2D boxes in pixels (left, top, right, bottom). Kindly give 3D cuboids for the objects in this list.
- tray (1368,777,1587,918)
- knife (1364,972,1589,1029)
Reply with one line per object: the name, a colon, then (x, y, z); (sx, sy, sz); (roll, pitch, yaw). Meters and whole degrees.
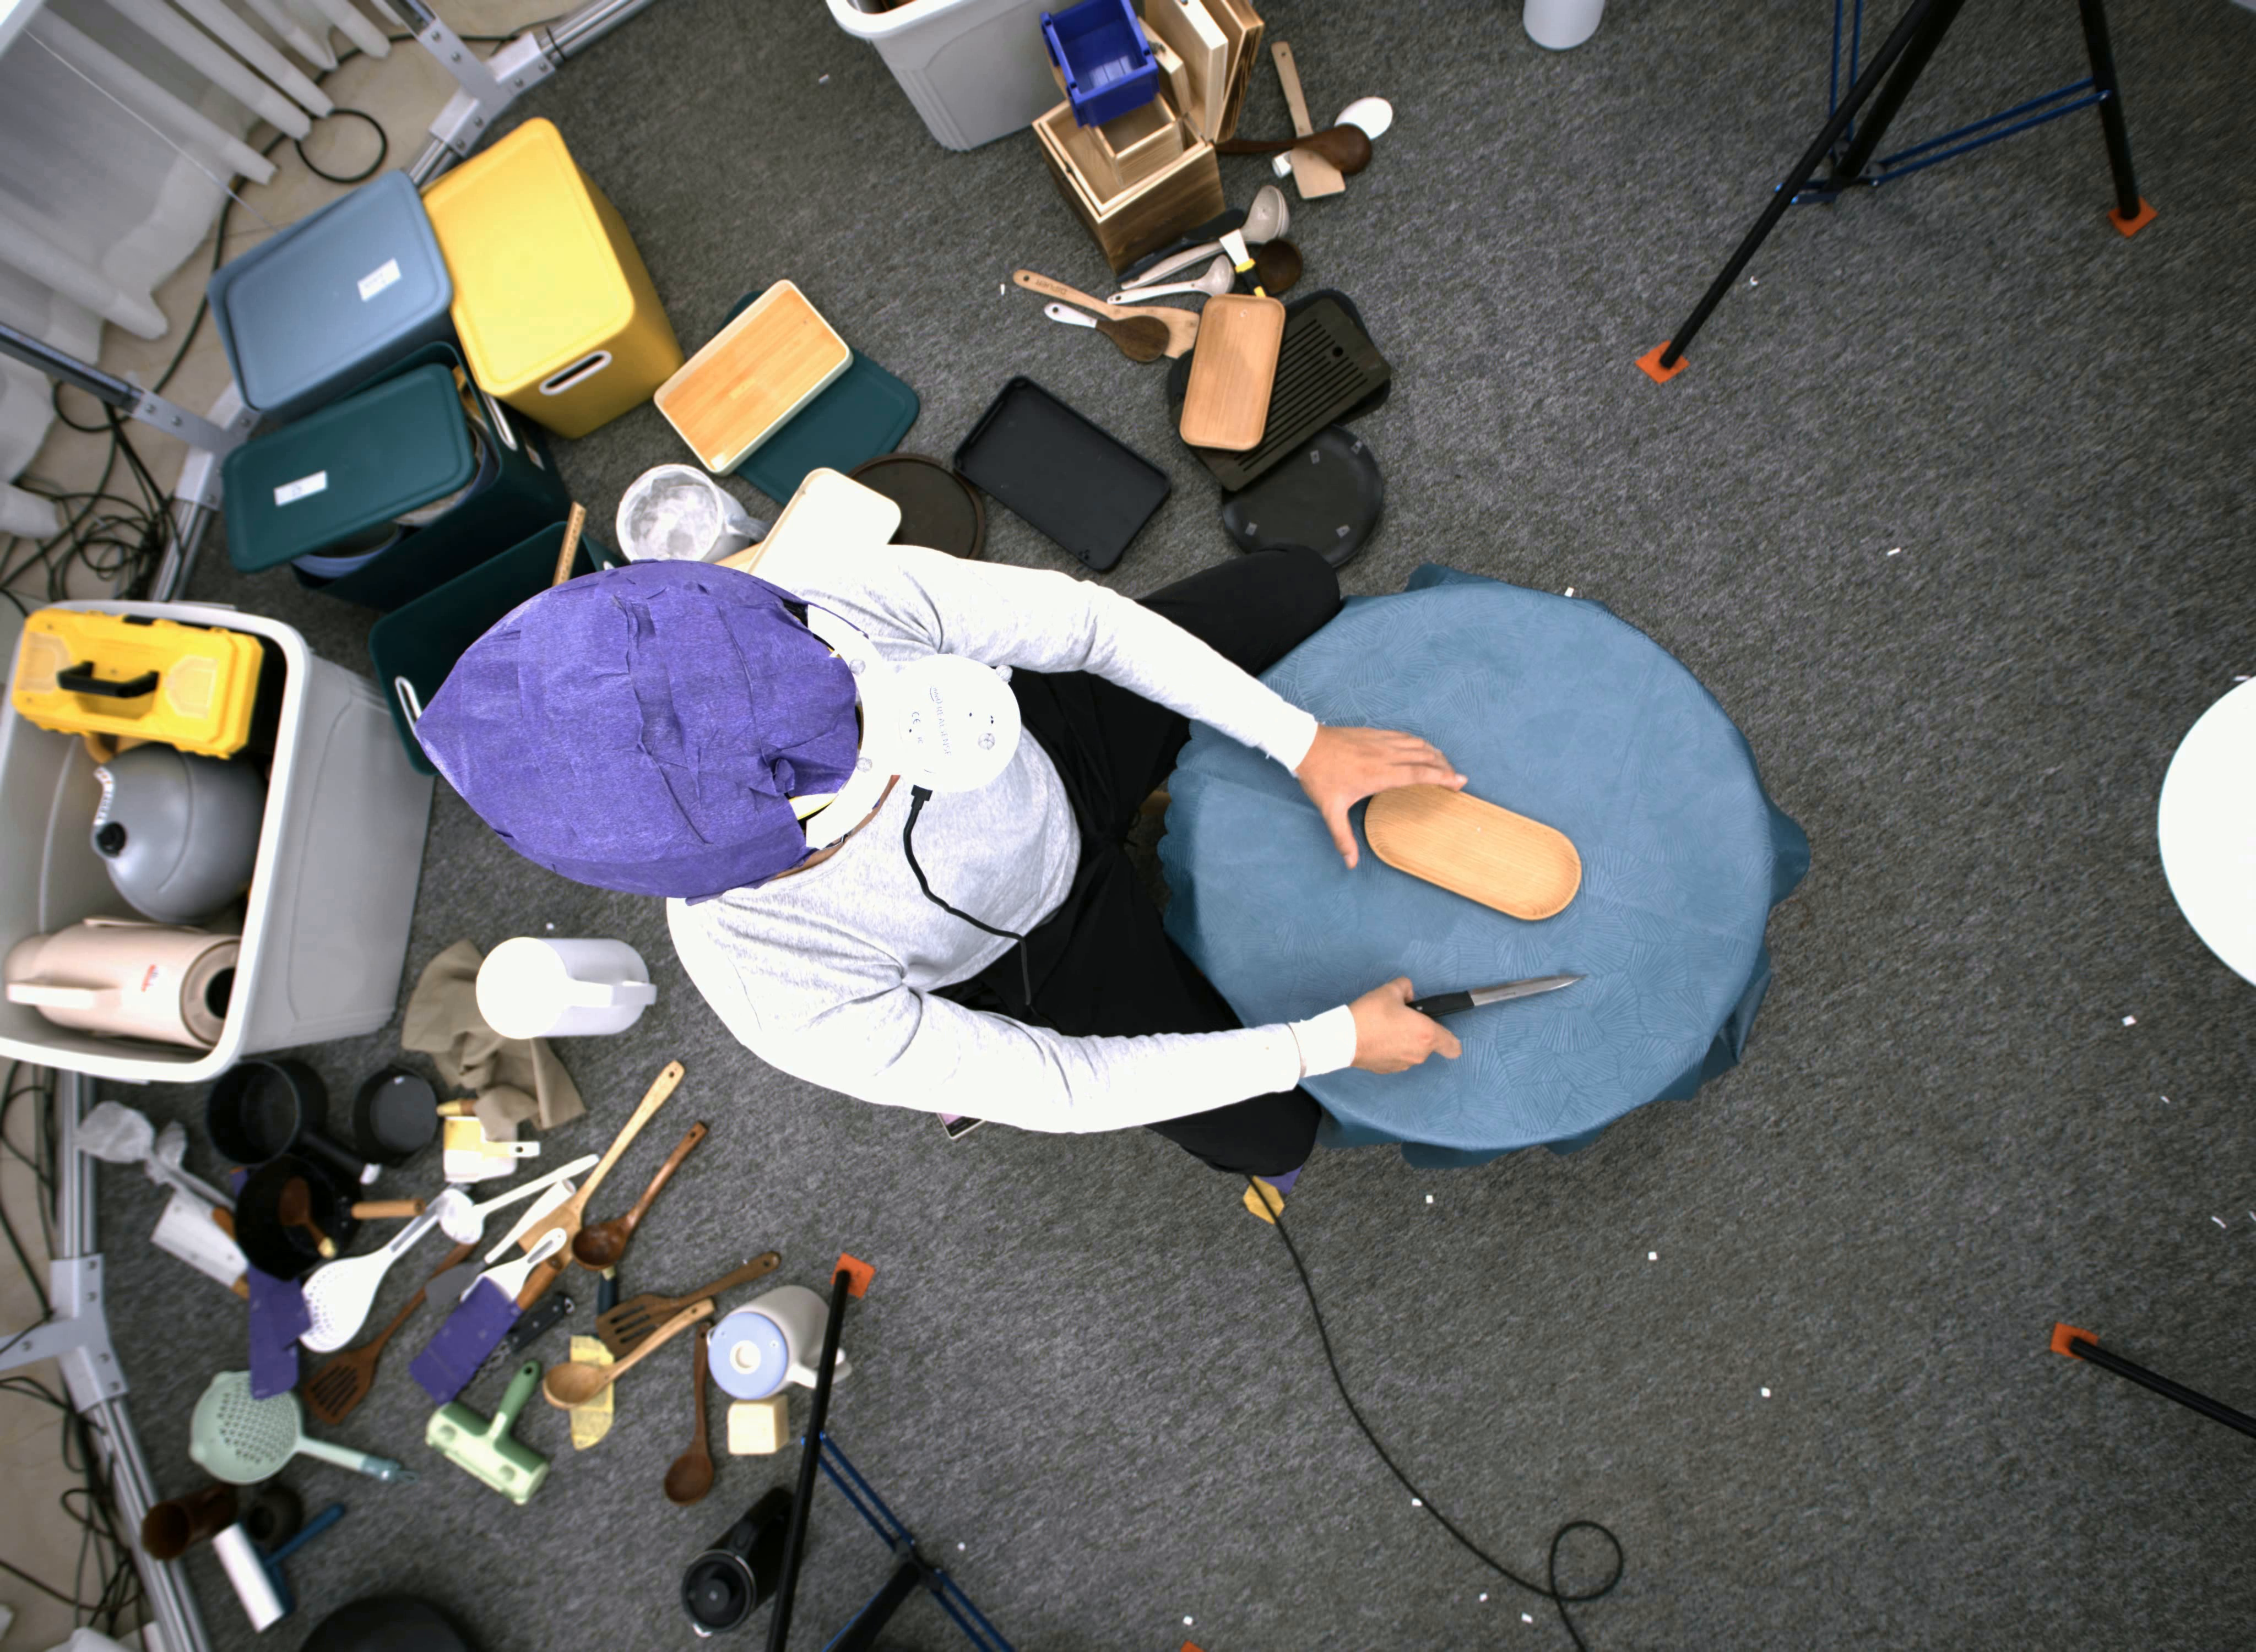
tray: (0.363, 0.019, 1.438); (0.231, 0.020, 0.102); (21, 91, 10)
knife: (0.361, 0.175, 1.417); (0.238, 0.017, 0.024); (-12, 43, -1)
